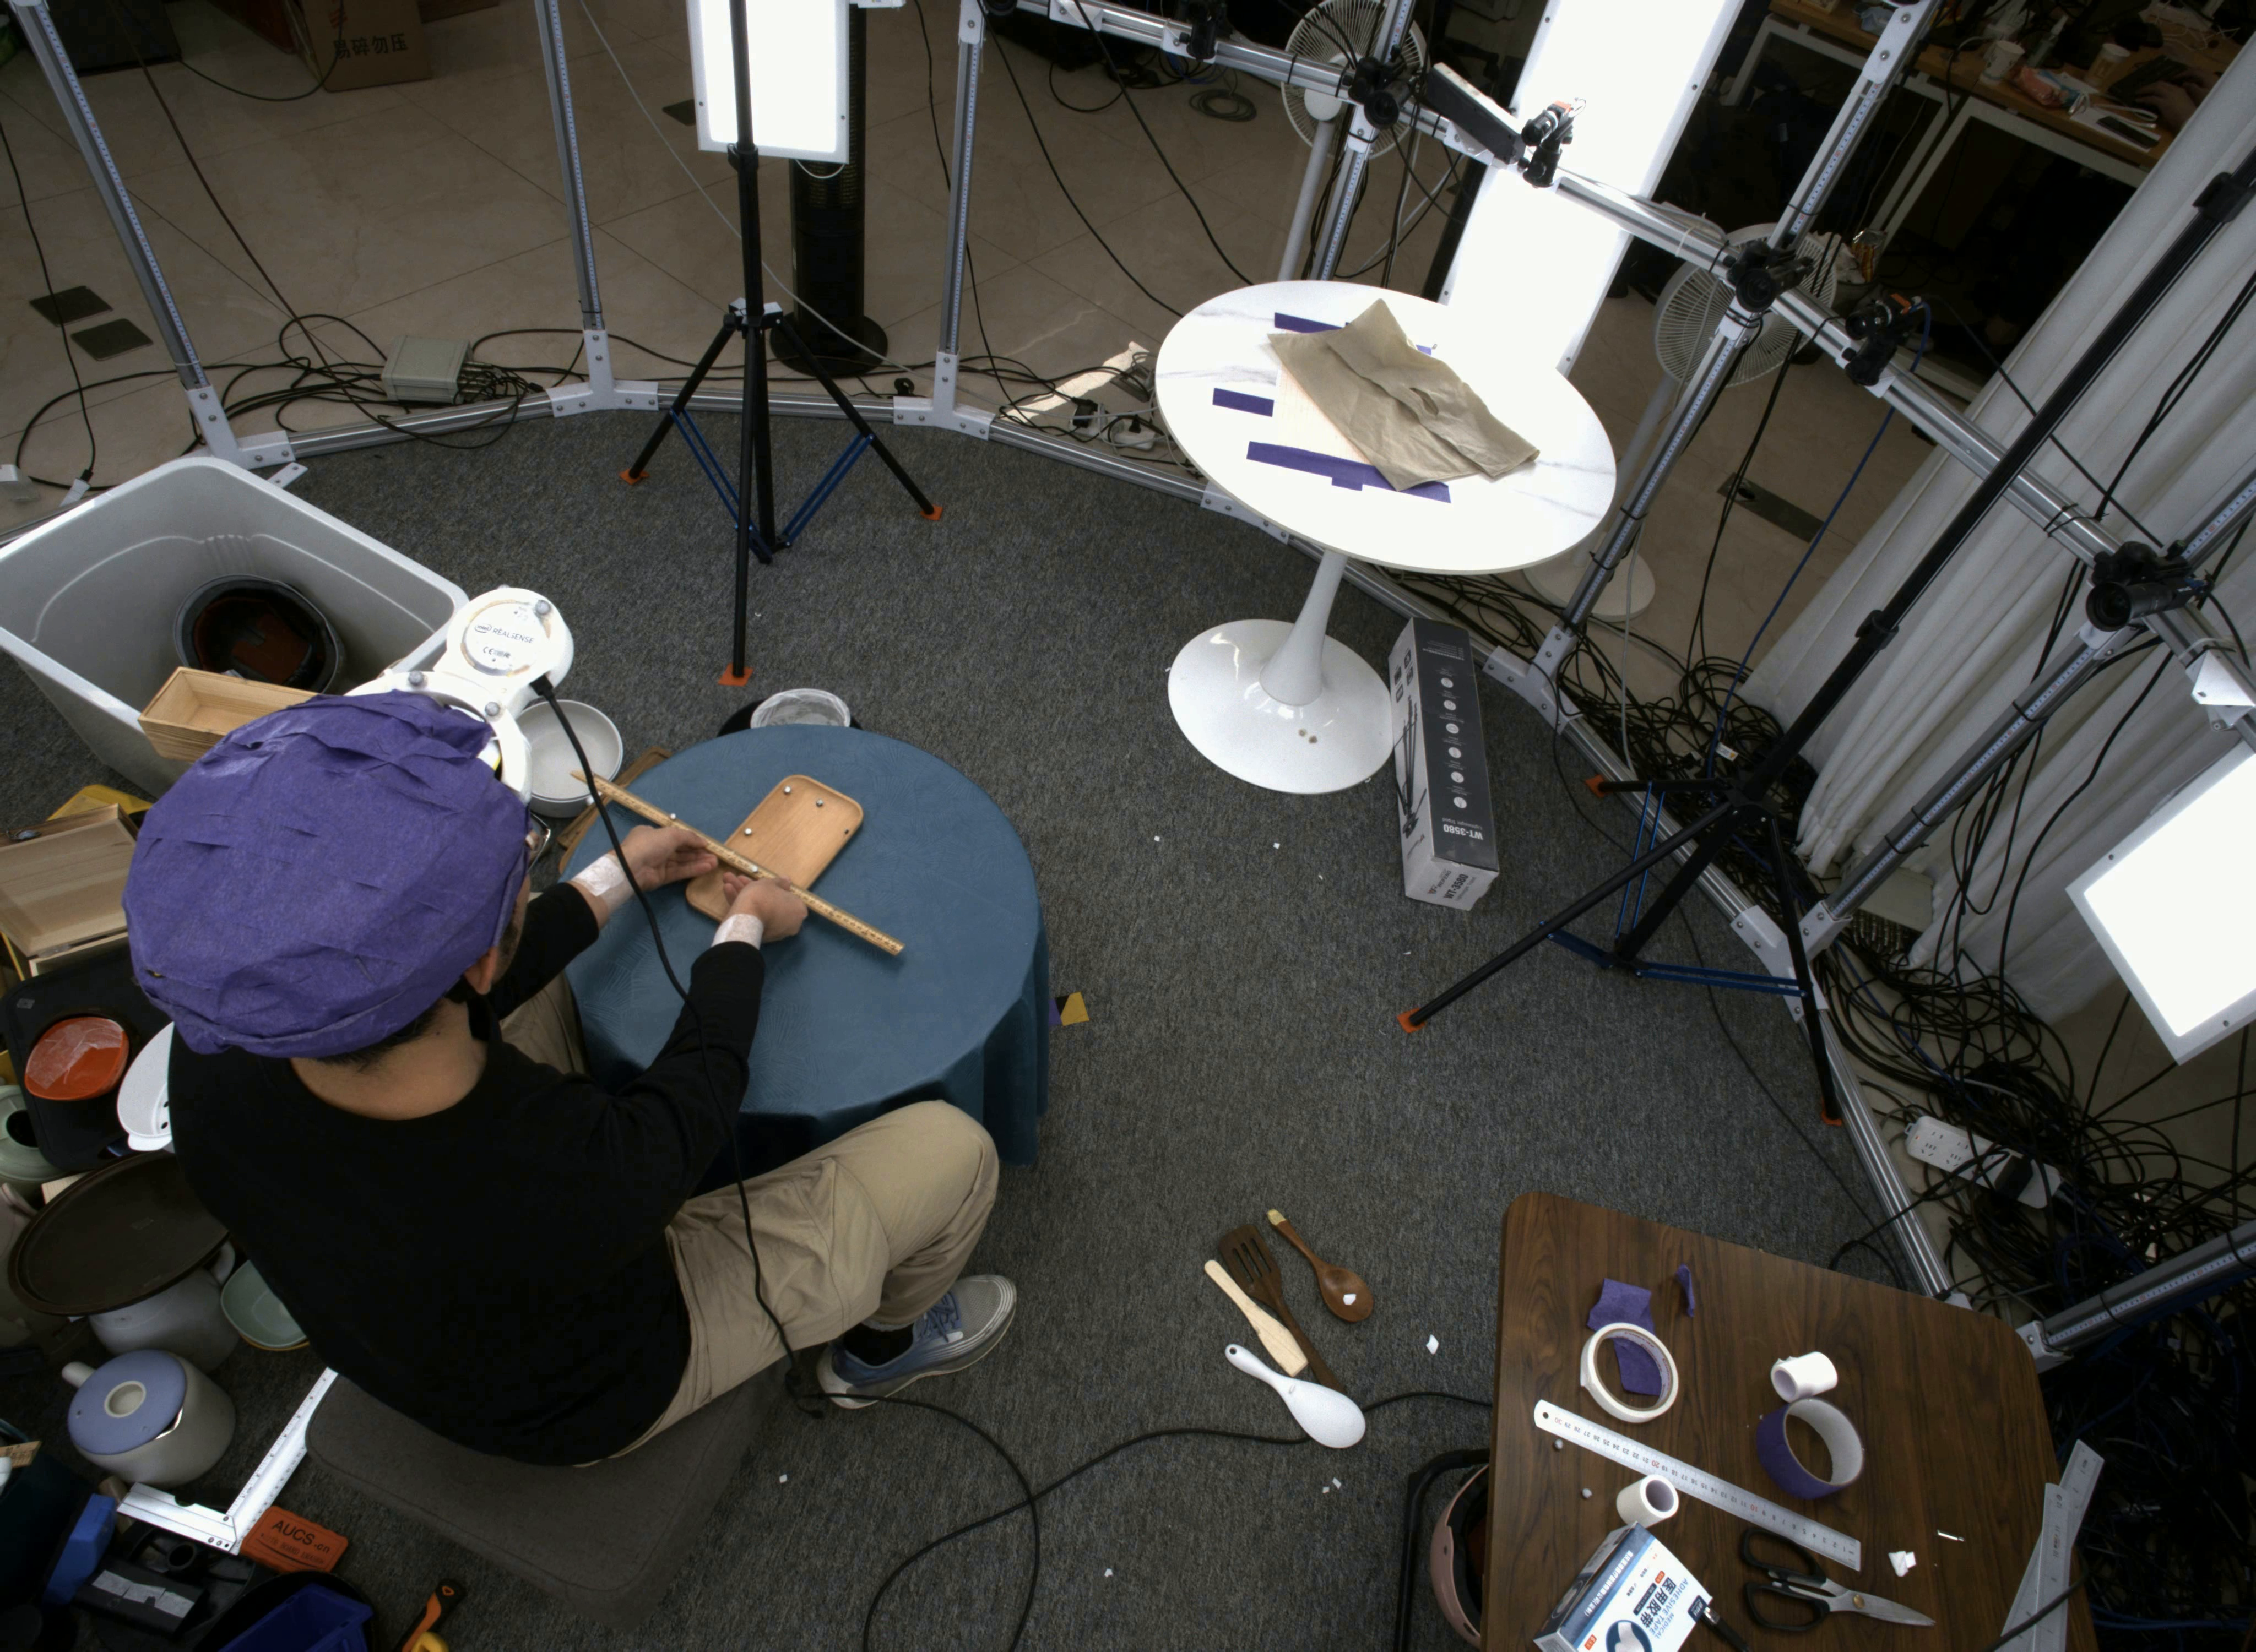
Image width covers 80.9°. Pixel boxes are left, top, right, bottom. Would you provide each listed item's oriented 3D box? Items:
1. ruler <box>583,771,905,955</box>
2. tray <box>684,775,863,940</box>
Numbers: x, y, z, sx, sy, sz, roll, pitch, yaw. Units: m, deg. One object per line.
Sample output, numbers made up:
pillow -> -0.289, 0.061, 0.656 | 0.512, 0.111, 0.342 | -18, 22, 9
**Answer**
ruler -> -0.499, 0.041, 1.640 | 0.493, 0.006, 0.027 | 27, 30, 7
tray -> -0.455, 0.036, 1.673 | 0.128, 0.023, 0.249 | 27, 53, 9
